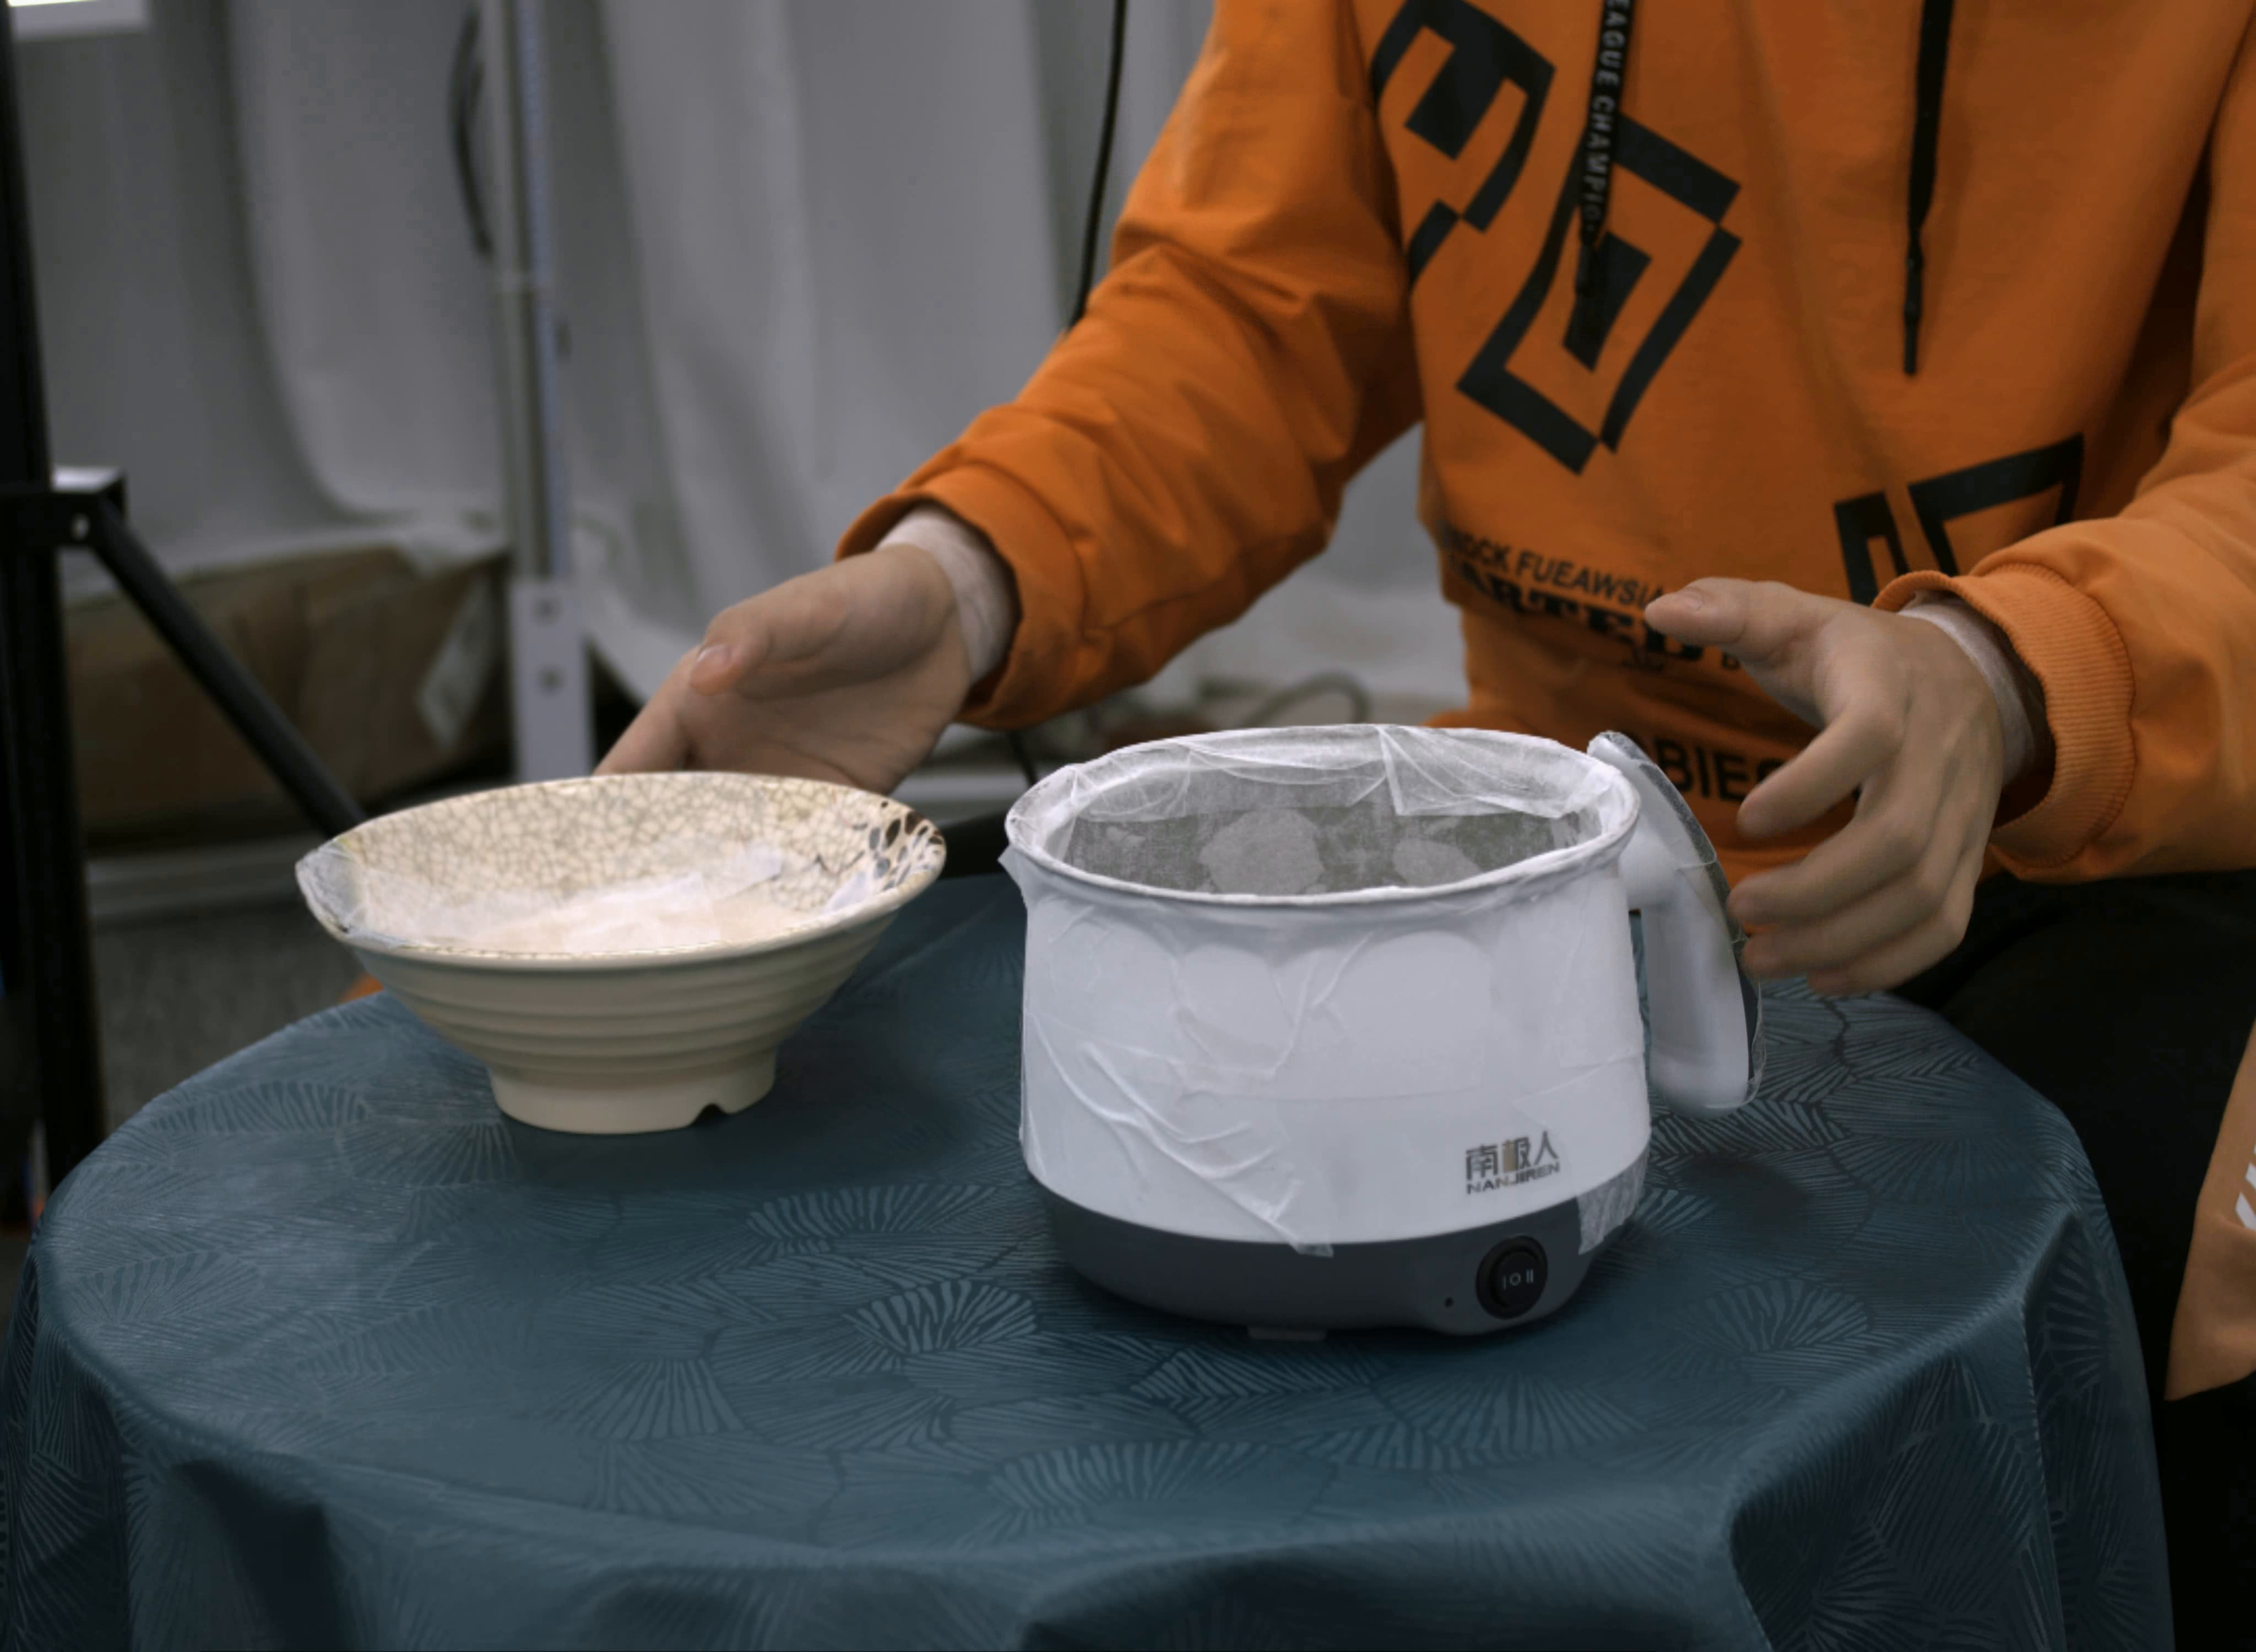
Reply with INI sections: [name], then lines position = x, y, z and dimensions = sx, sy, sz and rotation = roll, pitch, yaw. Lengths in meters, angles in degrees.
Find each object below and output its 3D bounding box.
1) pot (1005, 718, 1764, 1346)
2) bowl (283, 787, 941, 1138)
[pot]
position = 0.080, 0.050, 1.495
dimensions = 0.228, 0.136, 0.183
rotation = -12, 19, -30
[bowl]
position = -0.160, 0.048, 1.662
dimensions = 0.203, 0.078, 0.205
rotation = 0, 13, -1
